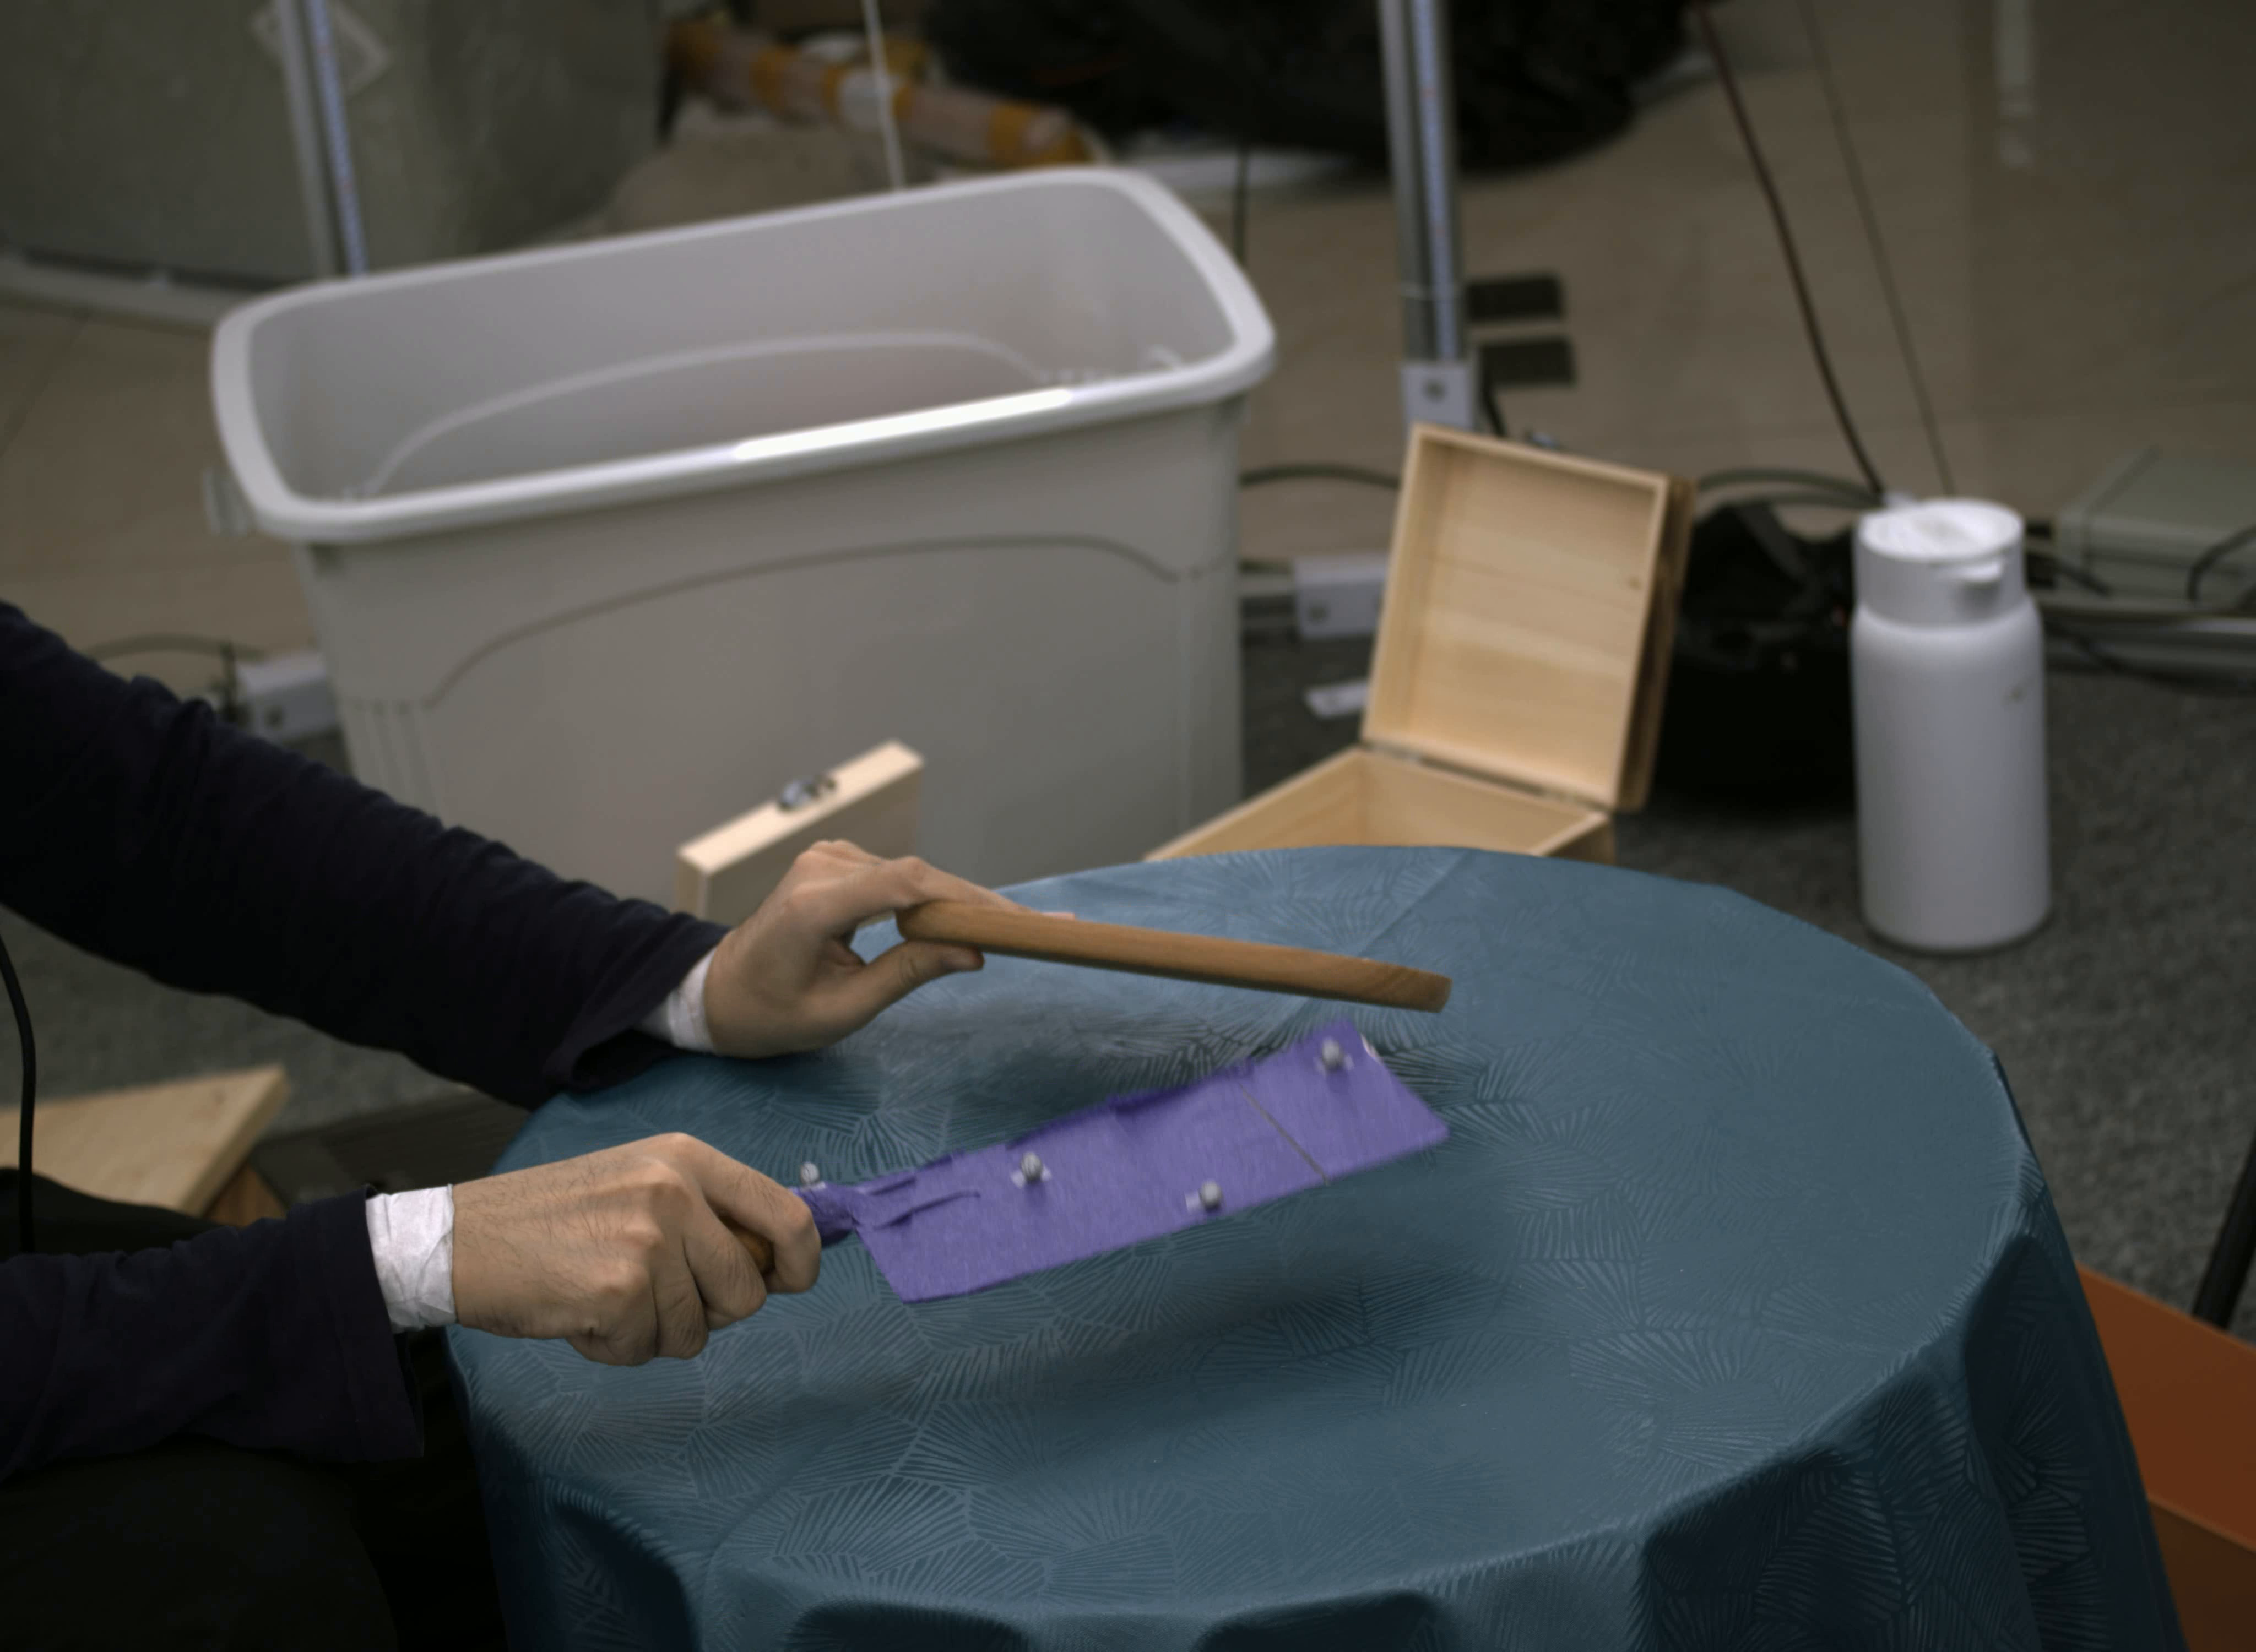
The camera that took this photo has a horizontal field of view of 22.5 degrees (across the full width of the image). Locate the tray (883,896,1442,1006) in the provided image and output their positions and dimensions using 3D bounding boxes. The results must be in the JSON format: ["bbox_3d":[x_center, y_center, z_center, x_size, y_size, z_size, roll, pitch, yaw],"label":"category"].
[{"bbox_3d":[0.012,0.049,2.217,0.230,0.020,0.102,5,-7,24],"label":"tray"}]

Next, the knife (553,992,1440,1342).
[{"bbox_3d":[-0.045,0.128,2.006,0.314,0.033,0.102,-20,28,-13],"label":"knife"}]
